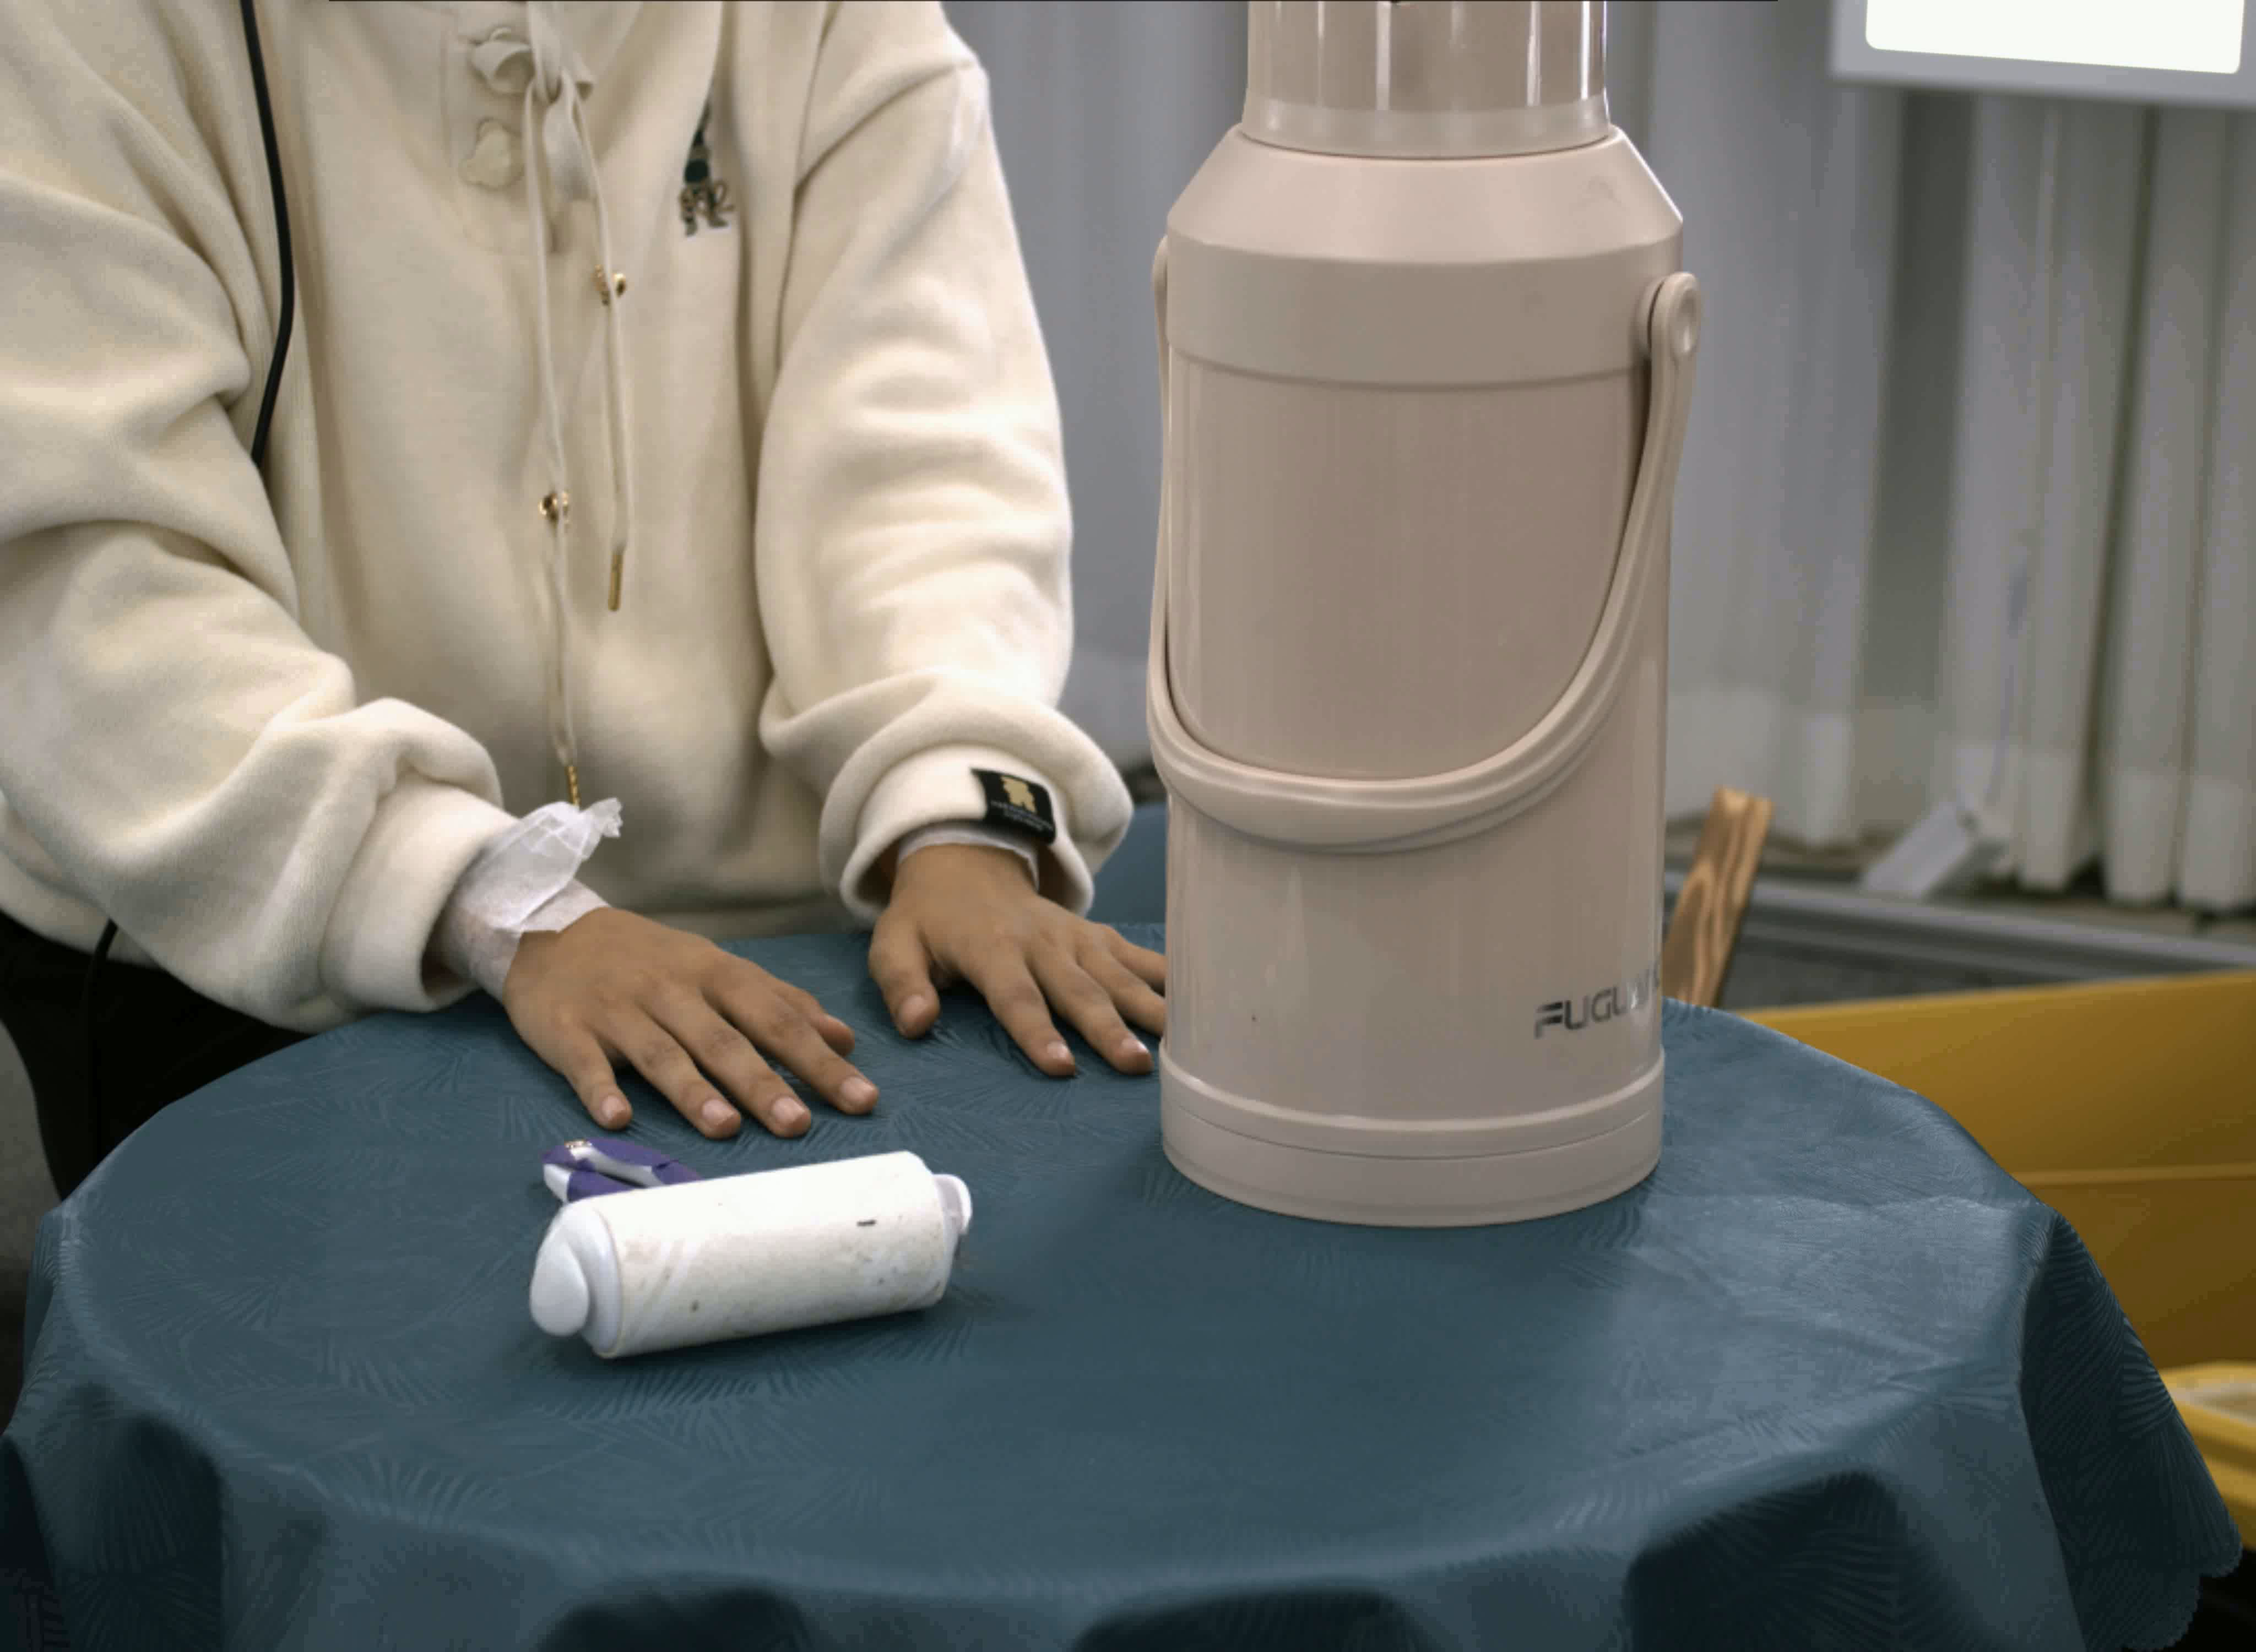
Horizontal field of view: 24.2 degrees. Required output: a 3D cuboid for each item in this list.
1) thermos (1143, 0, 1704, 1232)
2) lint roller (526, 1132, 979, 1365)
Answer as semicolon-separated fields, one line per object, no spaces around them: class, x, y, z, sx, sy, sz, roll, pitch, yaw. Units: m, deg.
thermos;0.097;-0.093;1.619;0.173;0.409;0.207;9;18;28
lint roller;-0.131;0.105;1.553;0.133;0.050;0.178;-7;19;-23
